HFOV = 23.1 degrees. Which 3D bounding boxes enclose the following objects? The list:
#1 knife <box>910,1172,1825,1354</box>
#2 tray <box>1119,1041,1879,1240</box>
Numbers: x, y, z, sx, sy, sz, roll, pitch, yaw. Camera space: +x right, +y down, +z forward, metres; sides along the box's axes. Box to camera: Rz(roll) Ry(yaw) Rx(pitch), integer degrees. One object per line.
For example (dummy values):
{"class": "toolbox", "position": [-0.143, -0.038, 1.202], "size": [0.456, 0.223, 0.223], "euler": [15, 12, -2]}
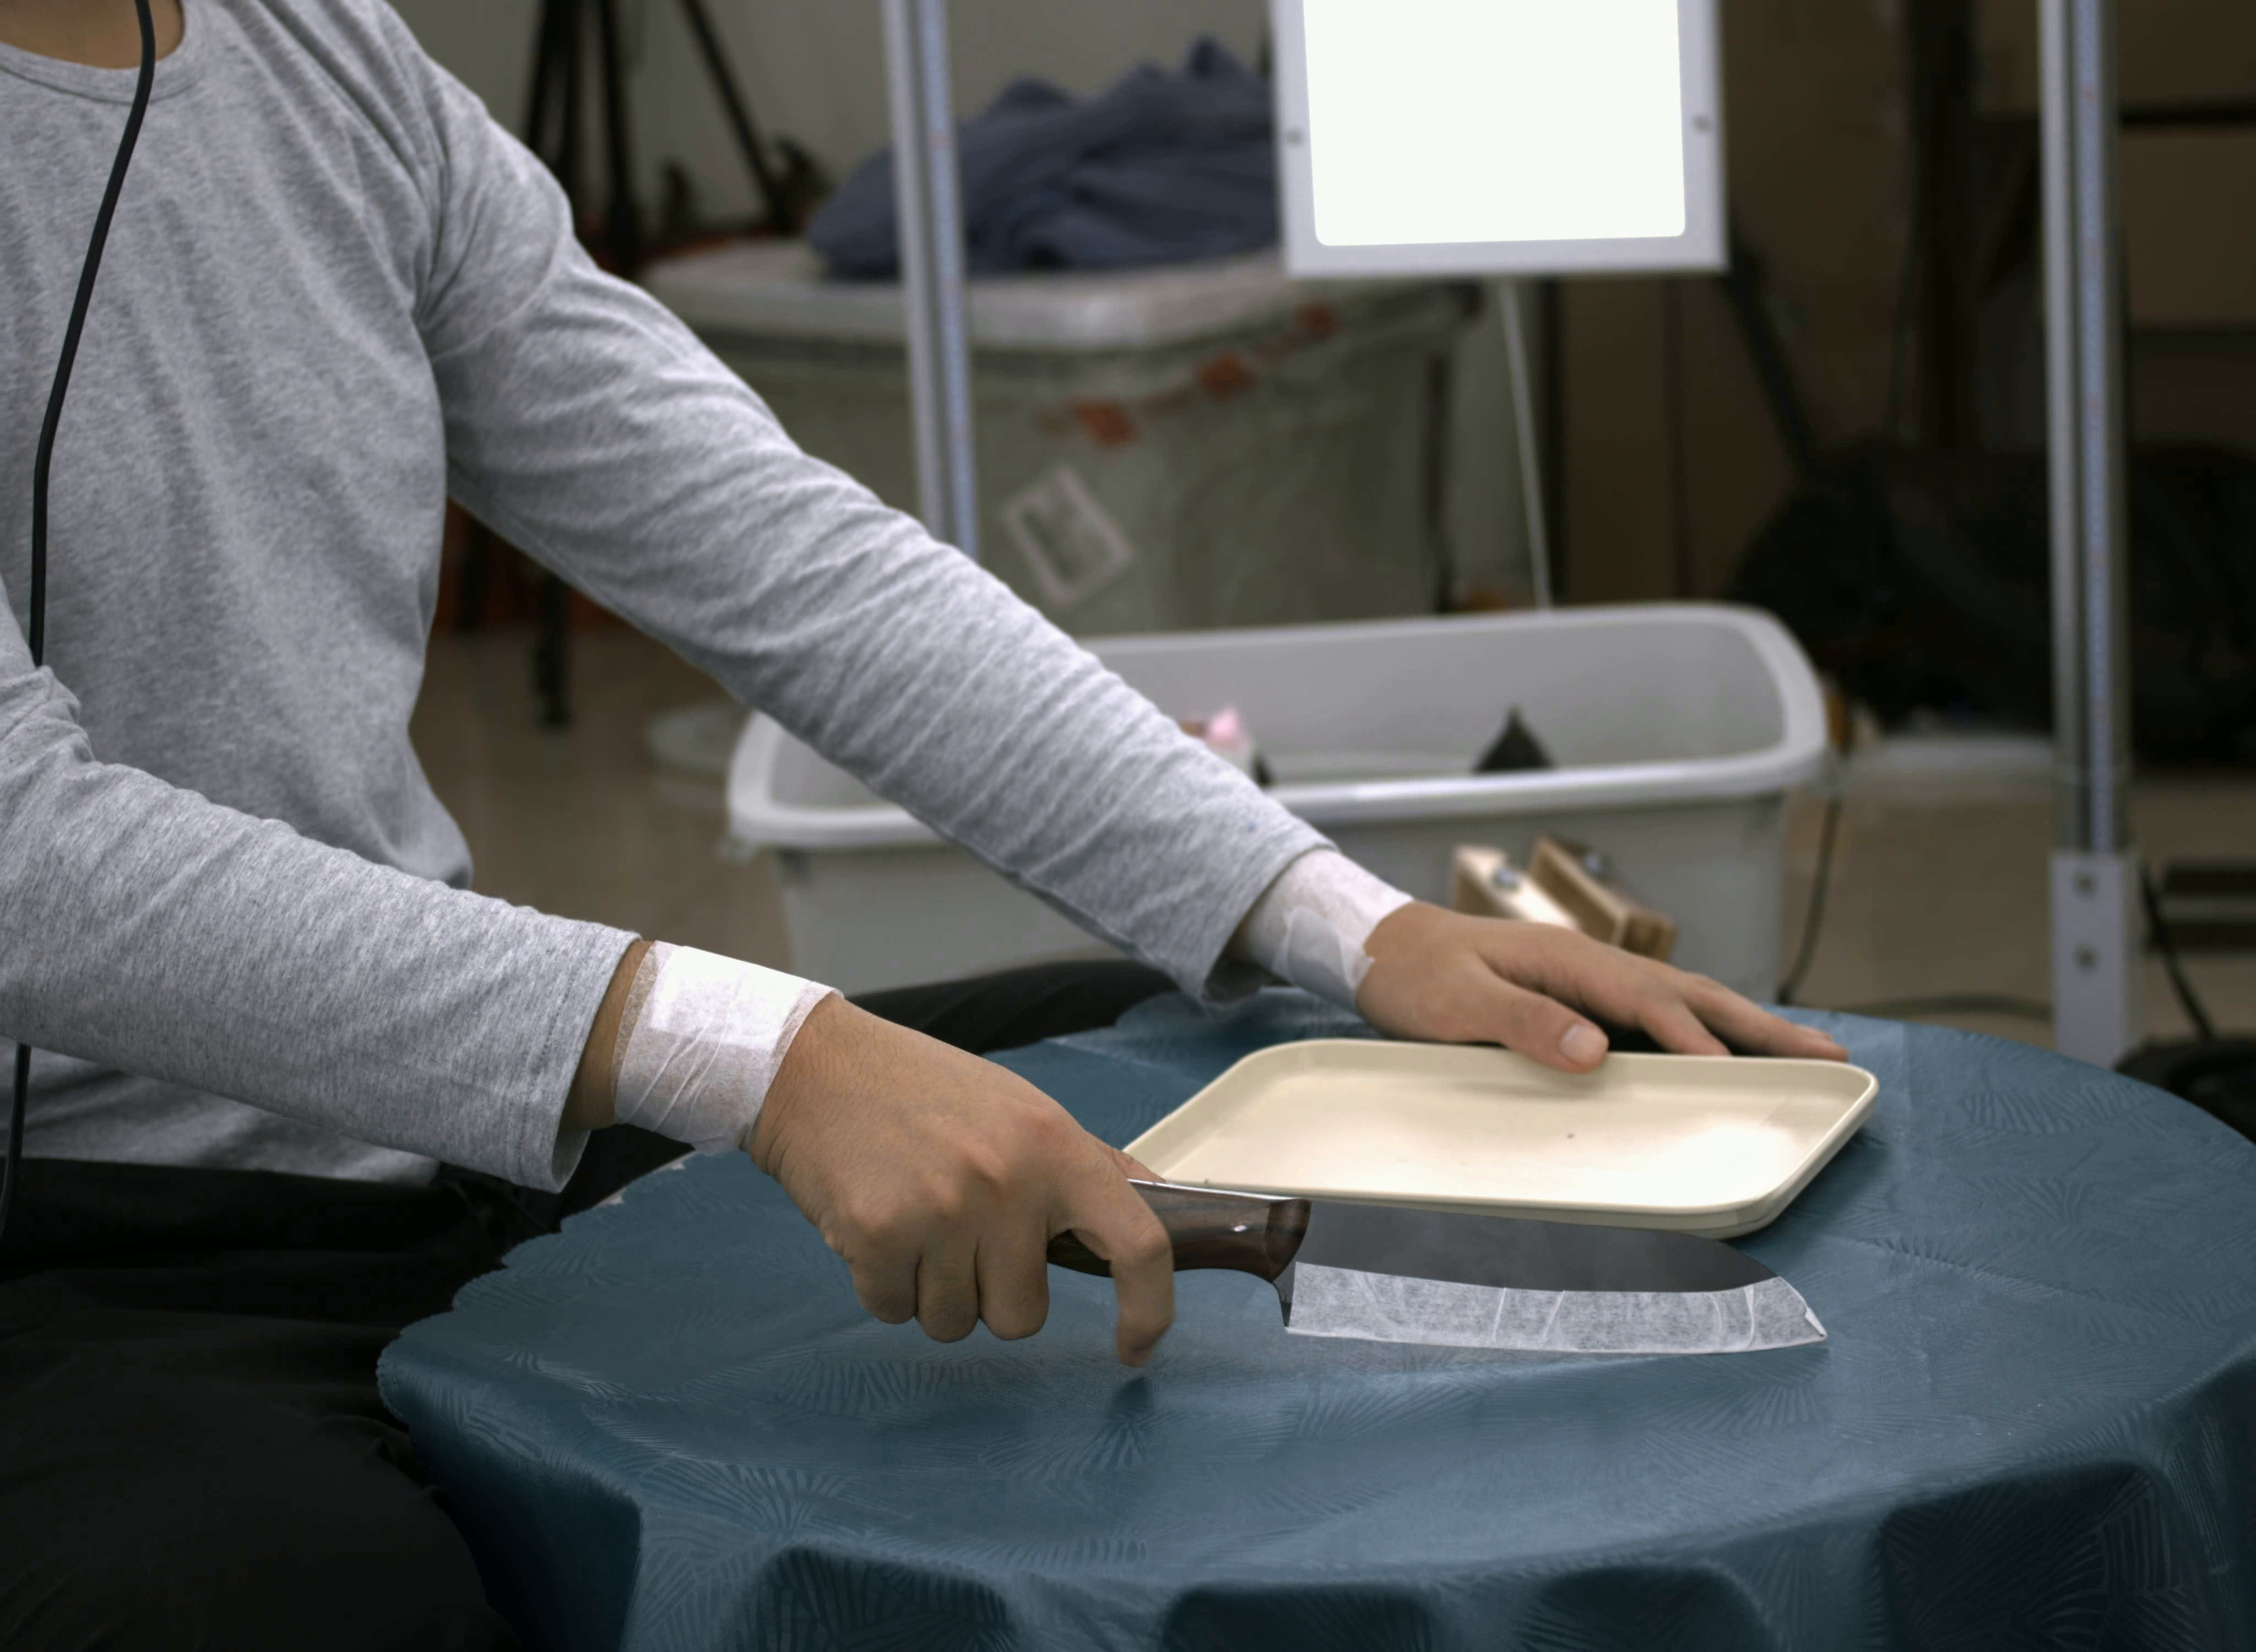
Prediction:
{"class": "knife", "position": [0.074, 0.136, 1.710], "size": [0.290, 0.050, 0.020], "euler": [6, -21, 8]}
{"class": "tray", "position": [0.130, 0.108, 1.894], "size": [0.243, 0.017, 0.168], "euler": [1, 15, 26]}
